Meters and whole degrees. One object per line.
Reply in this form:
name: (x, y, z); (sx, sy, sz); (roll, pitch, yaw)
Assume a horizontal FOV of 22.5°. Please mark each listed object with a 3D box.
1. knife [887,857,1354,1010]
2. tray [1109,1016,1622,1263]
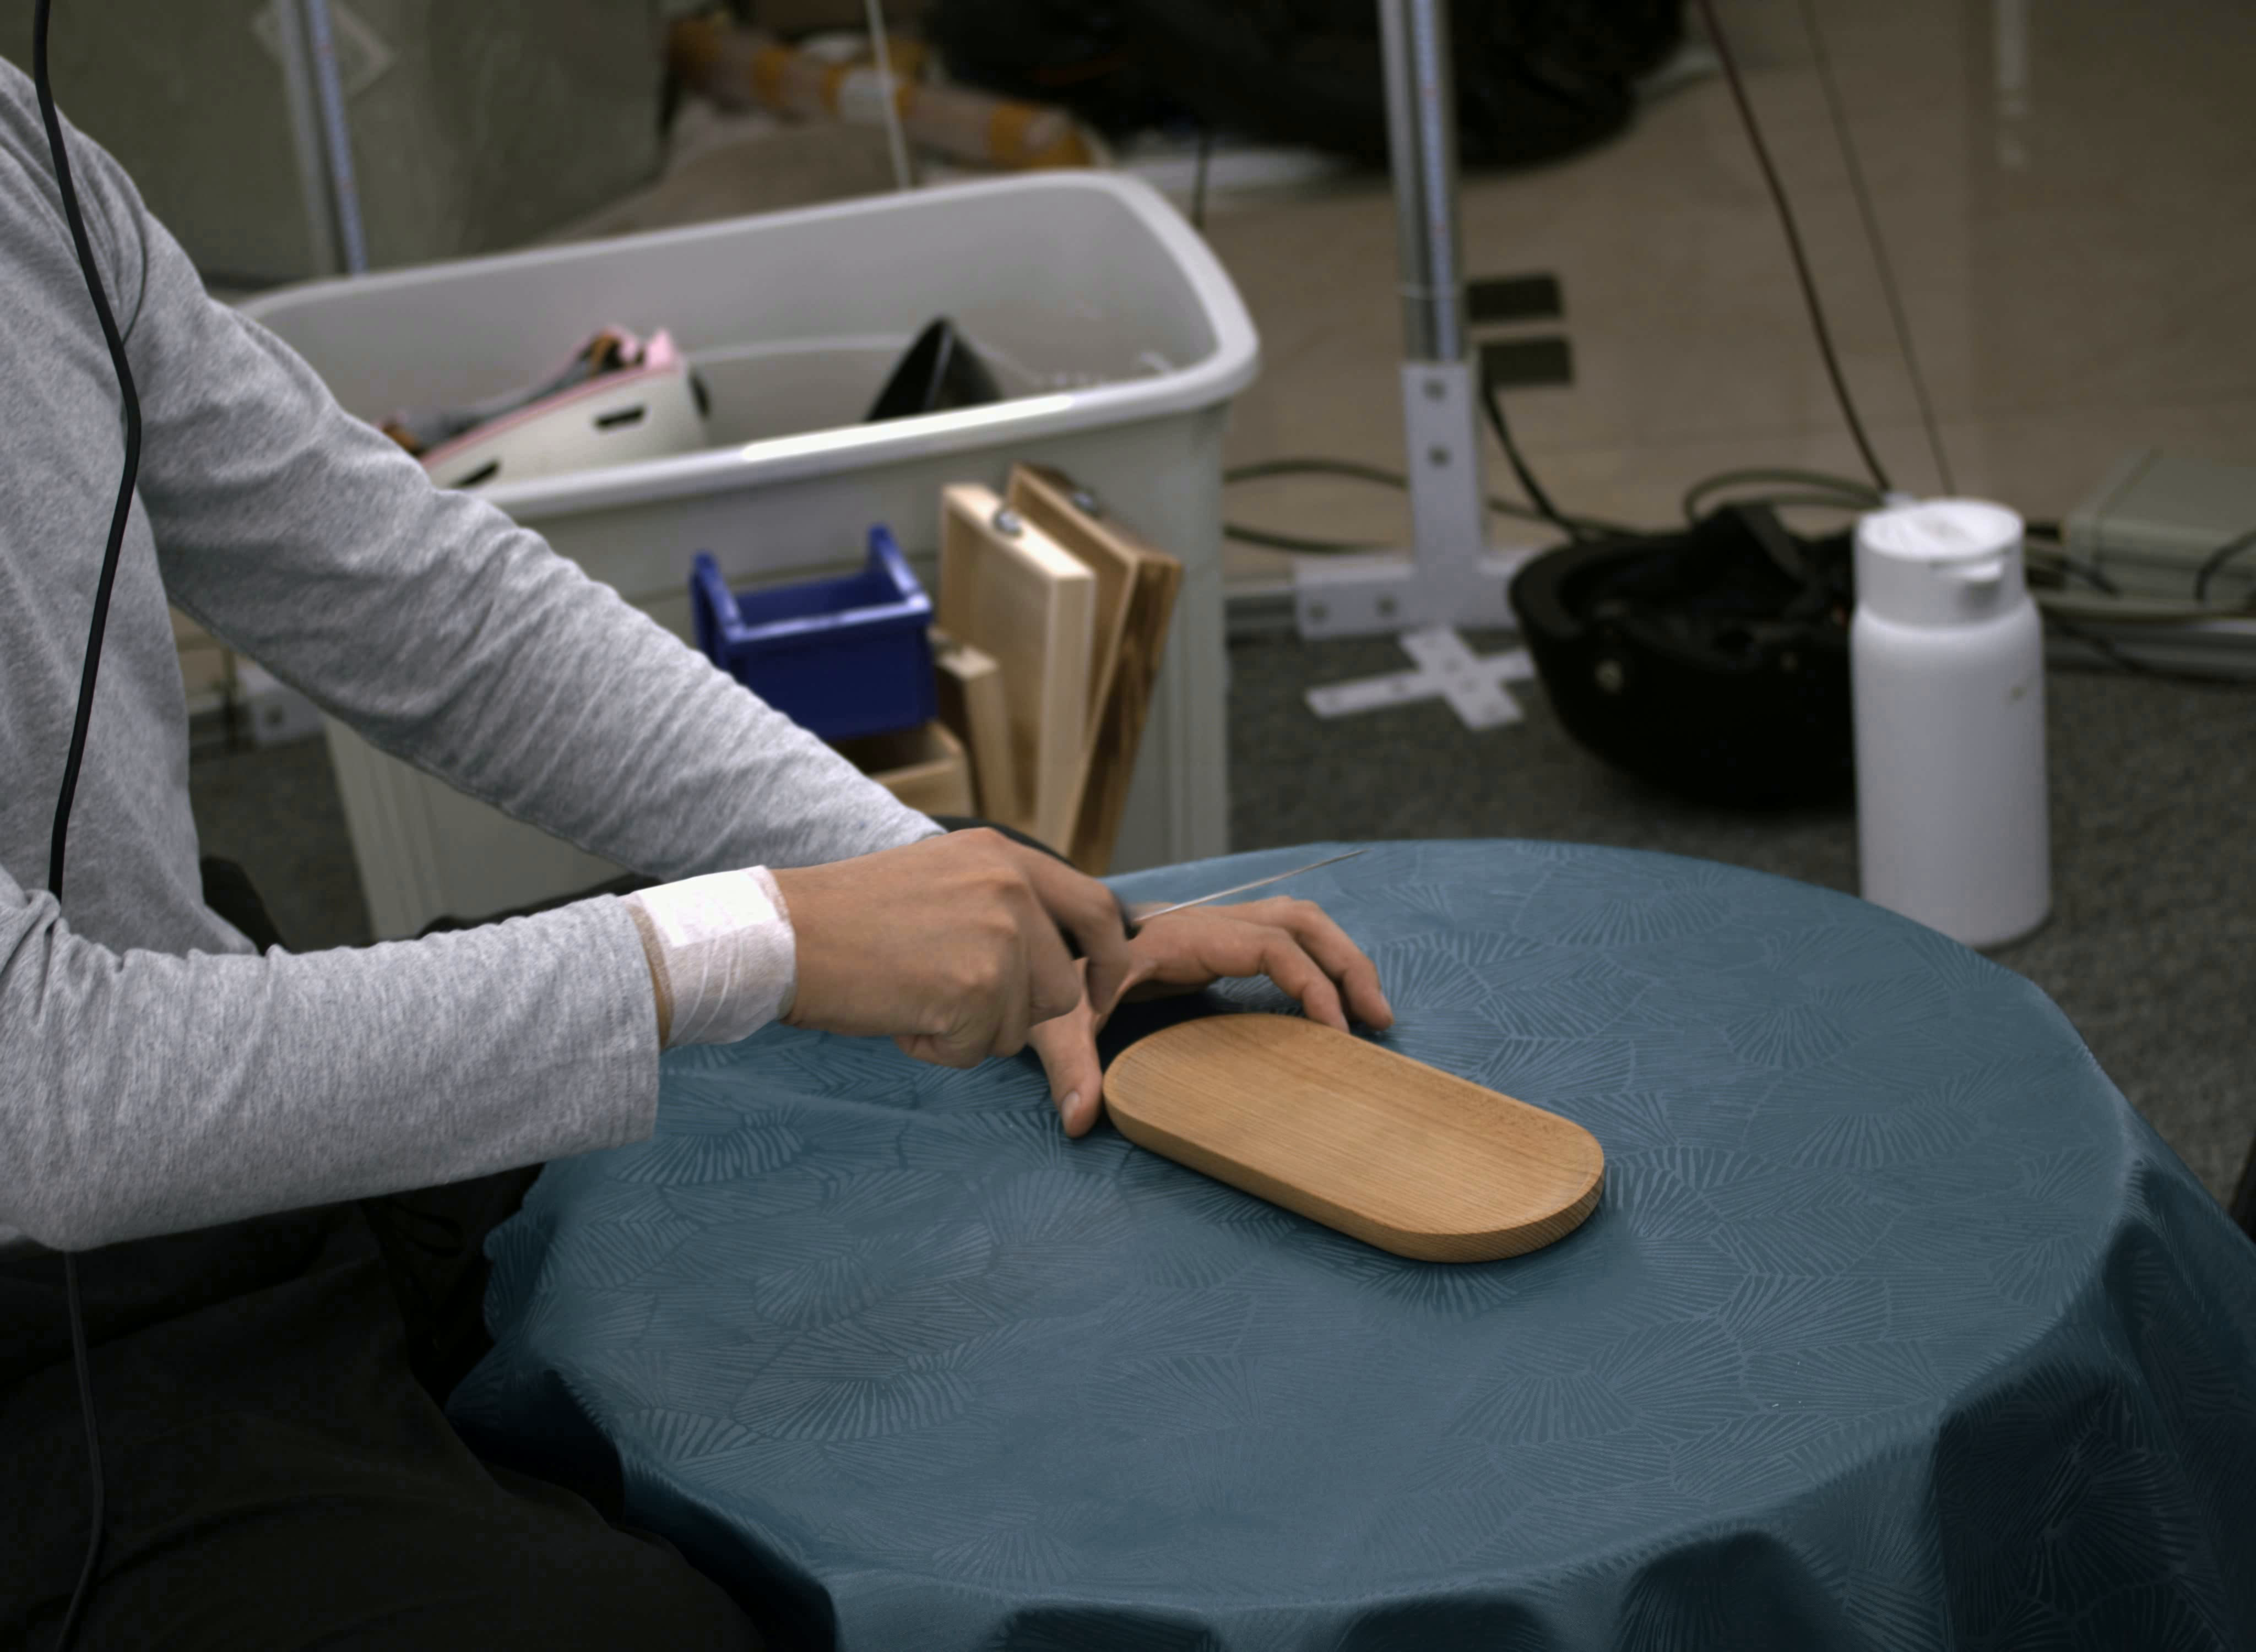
knife: (0.004, 0.035, 2.108); (0.237, 0.016, 0.024); (-16, -3, -42)
tray: (0.088, 0.118, 2.157); (0.101, 0.020, 0.229); (-29, 34, -36)
